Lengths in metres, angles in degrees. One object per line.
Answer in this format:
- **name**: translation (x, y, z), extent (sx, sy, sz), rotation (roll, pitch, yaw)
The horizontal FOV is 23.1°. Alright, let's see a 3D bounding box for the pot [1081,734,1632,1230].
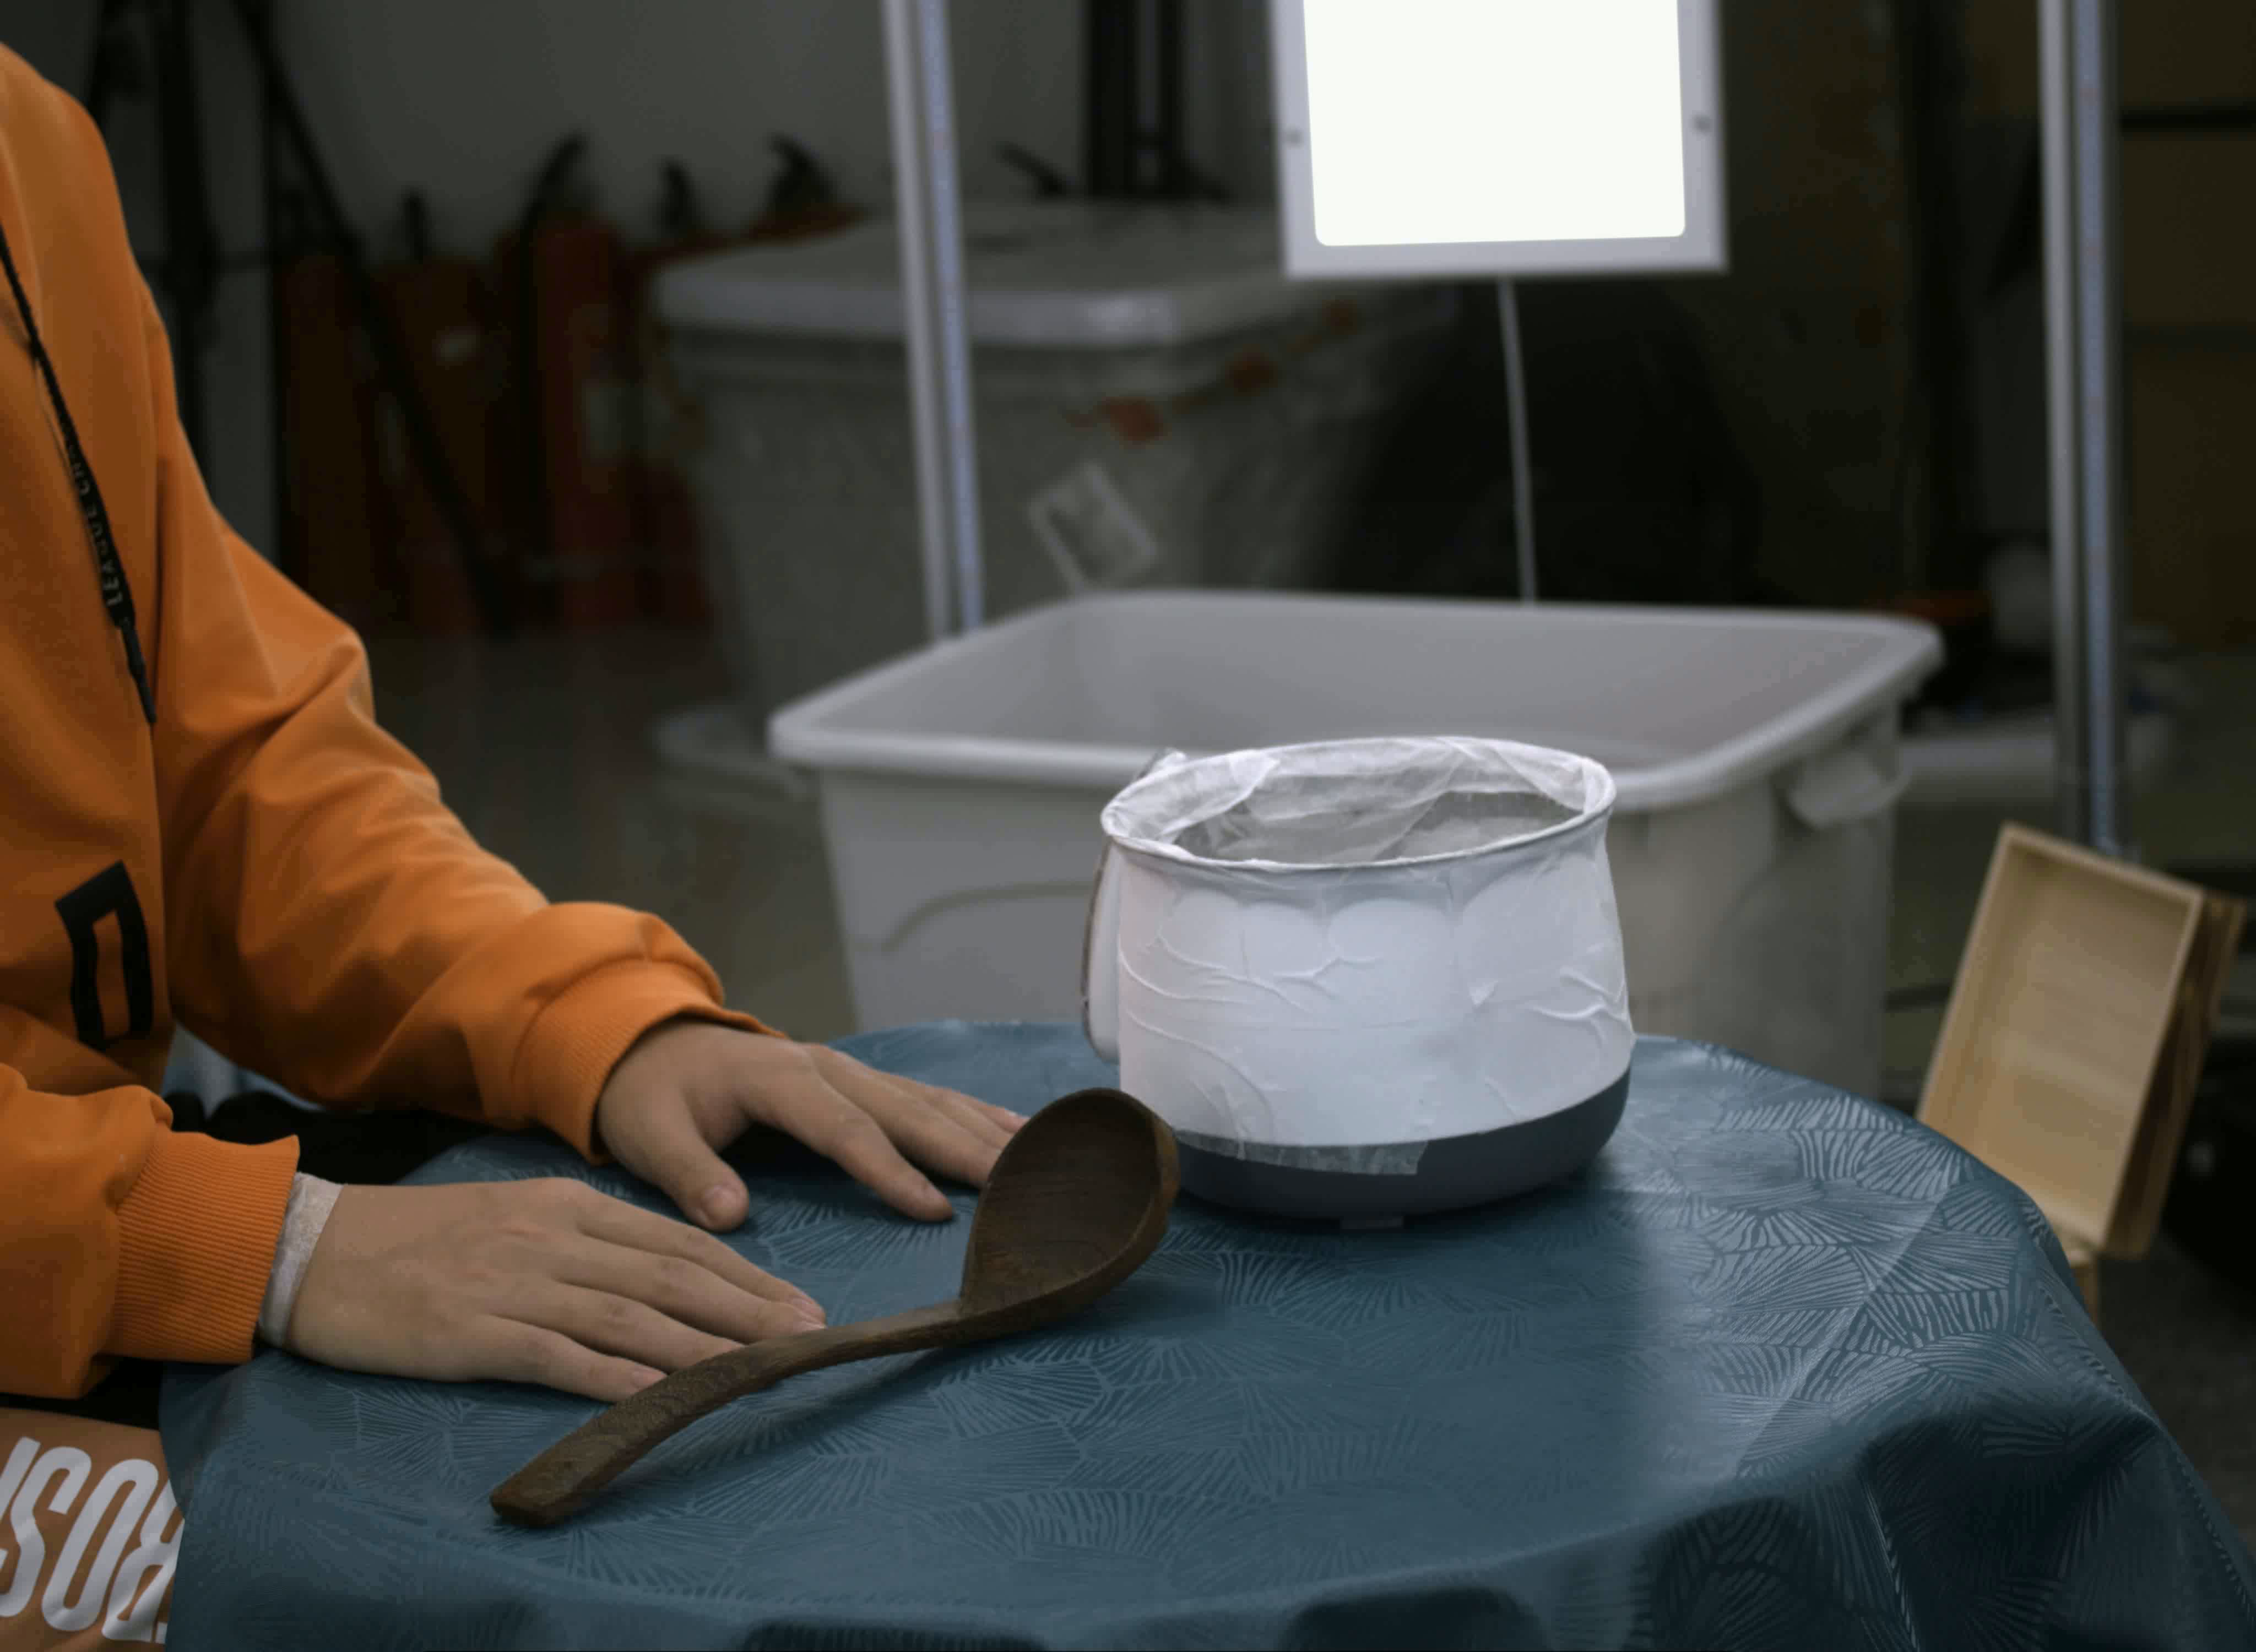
- **pot**: translation (0.065, 0.048, 1.905), extent (0.174, 0.137, 0.239), rotation (-15, 17, -38)

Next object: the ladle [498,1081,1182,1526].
- **ladle**: translation (-0.089, 0.144, 1.713), extent (0.267, 0.071, 0.078), rotation (-17, 15, -42)
